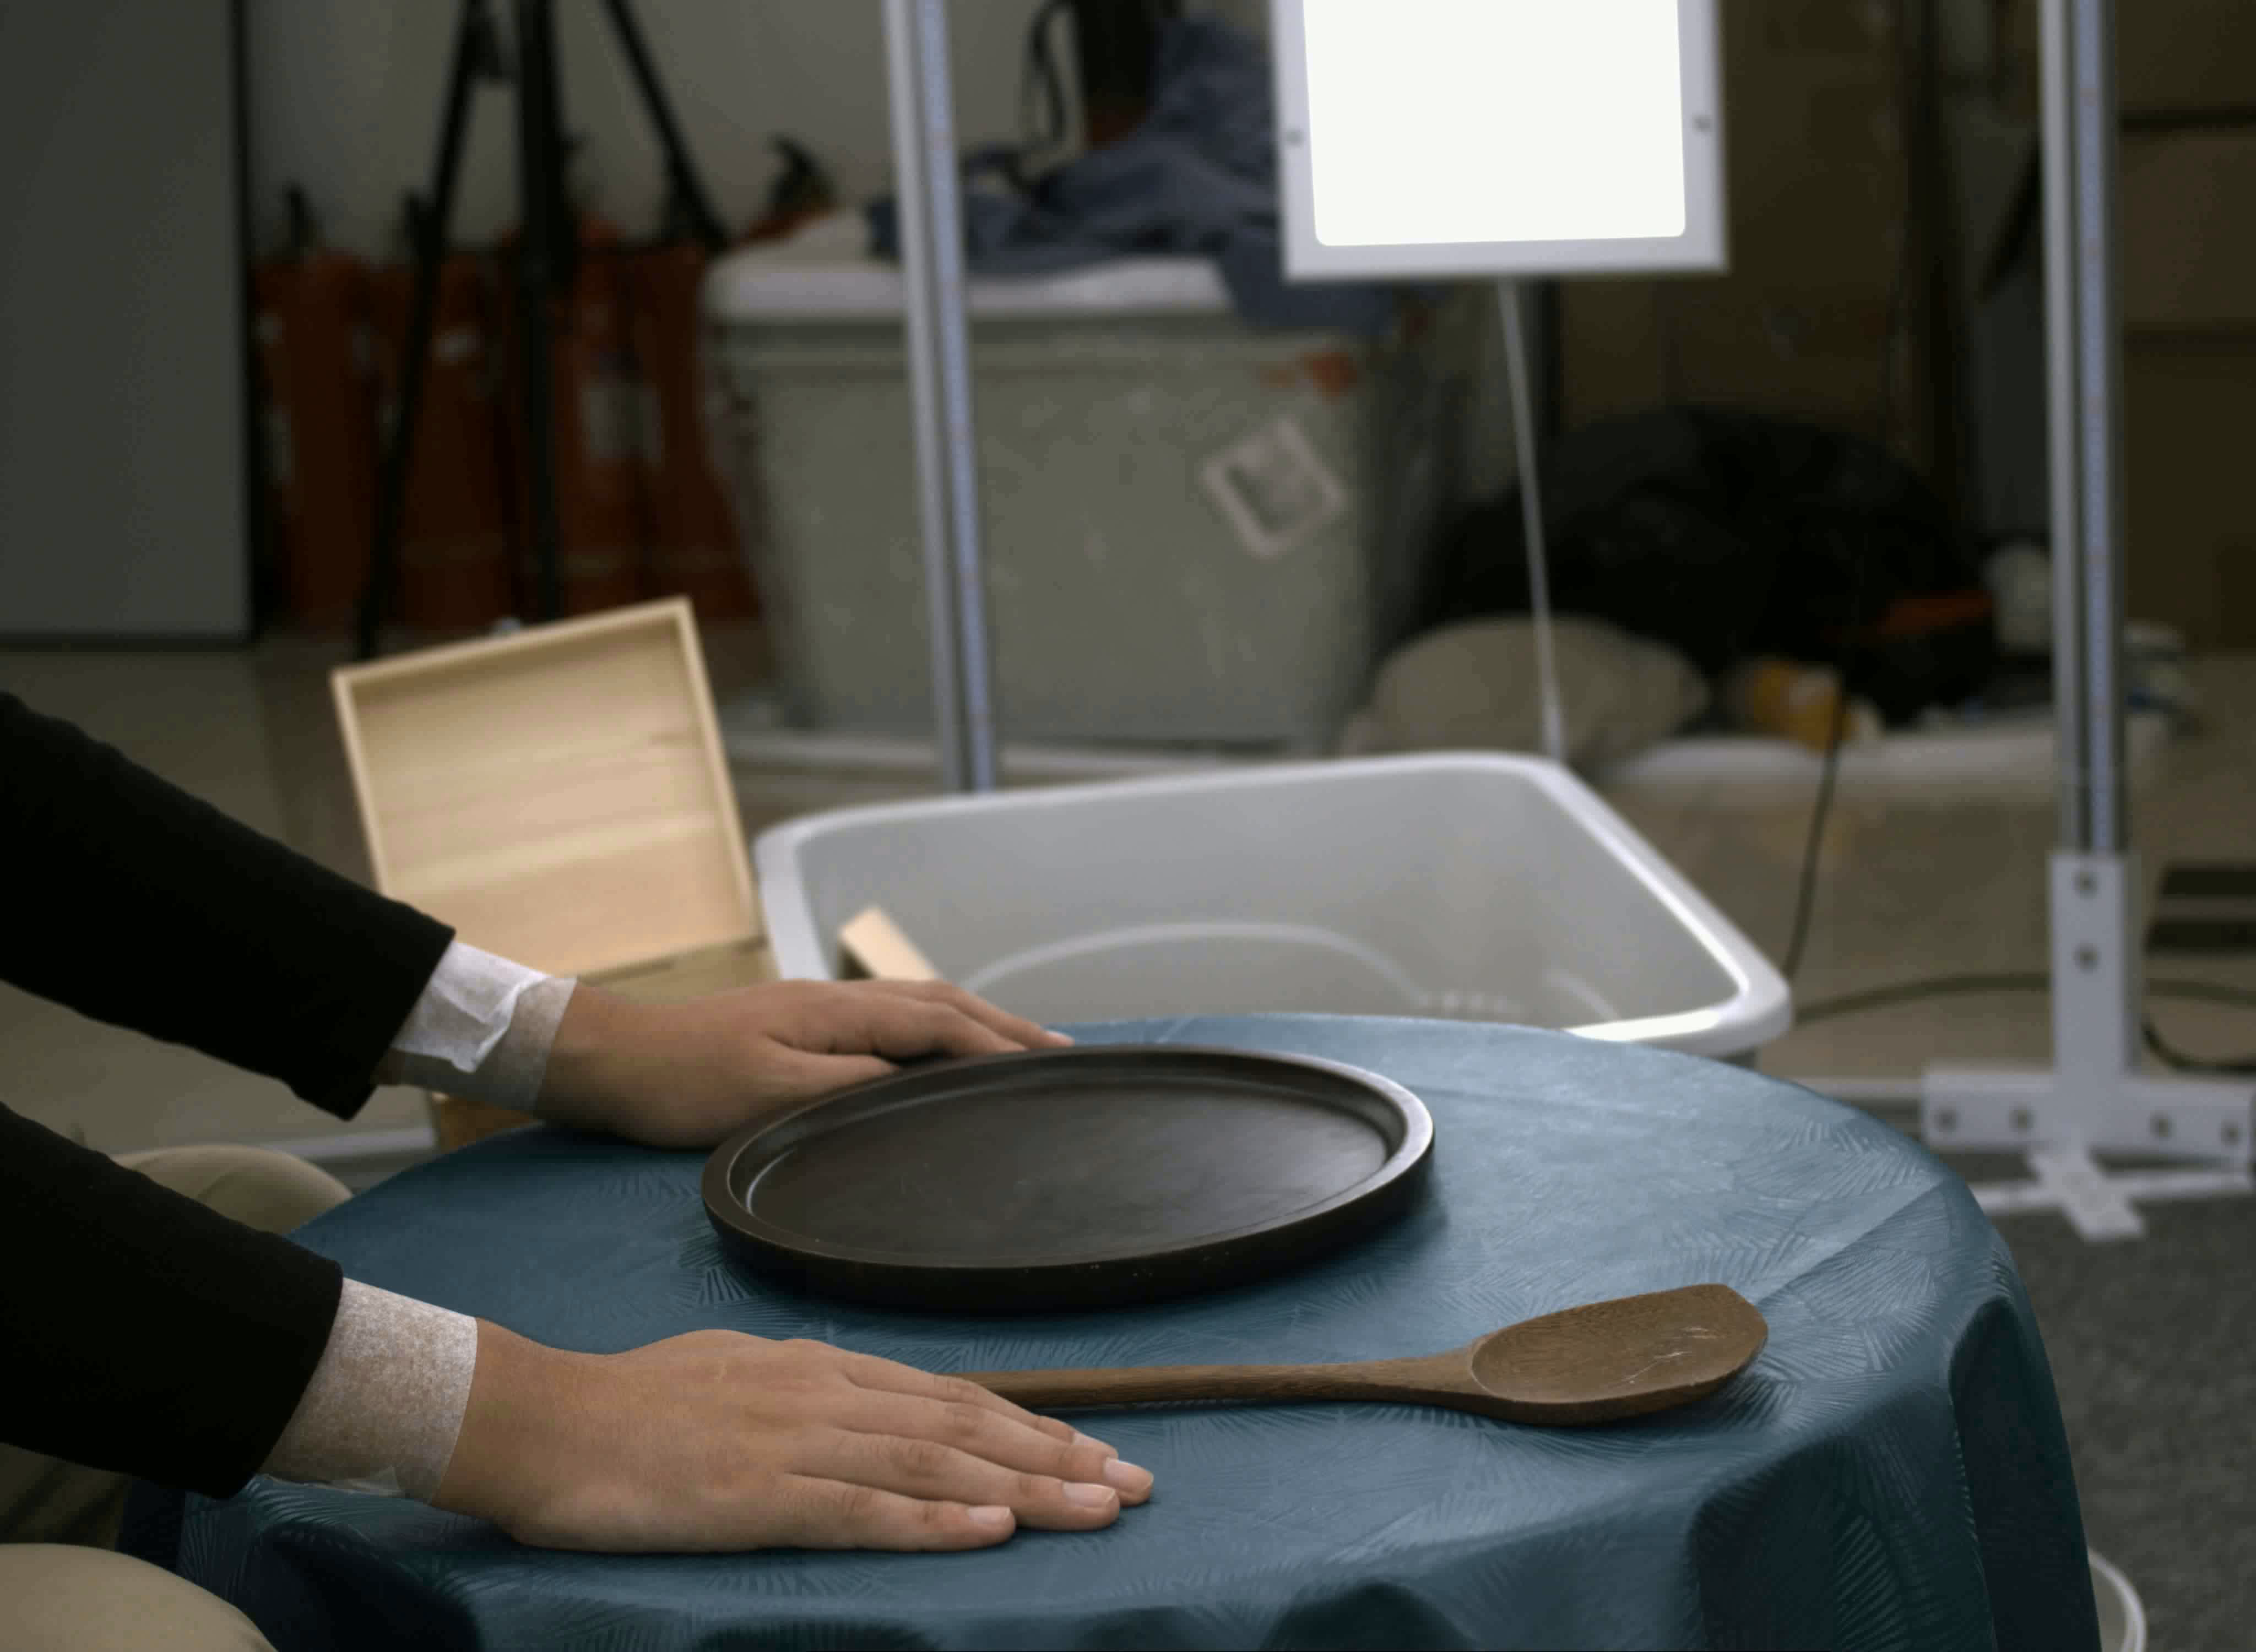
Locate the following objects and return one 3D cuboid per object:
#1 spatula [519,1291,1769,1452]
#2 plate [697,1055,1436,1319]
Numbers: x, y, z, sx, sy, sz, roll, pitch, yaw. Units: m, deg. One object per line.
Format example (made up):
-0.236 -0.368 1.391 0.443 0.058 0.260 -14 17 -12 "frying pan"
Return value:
0.003 0.171 1.684 0.387 0.016 0.095 -4 13 6 "spatula"
-0.021 0.121 1.885 0.254 0.029 0.254 -4 15 0 "plate"
